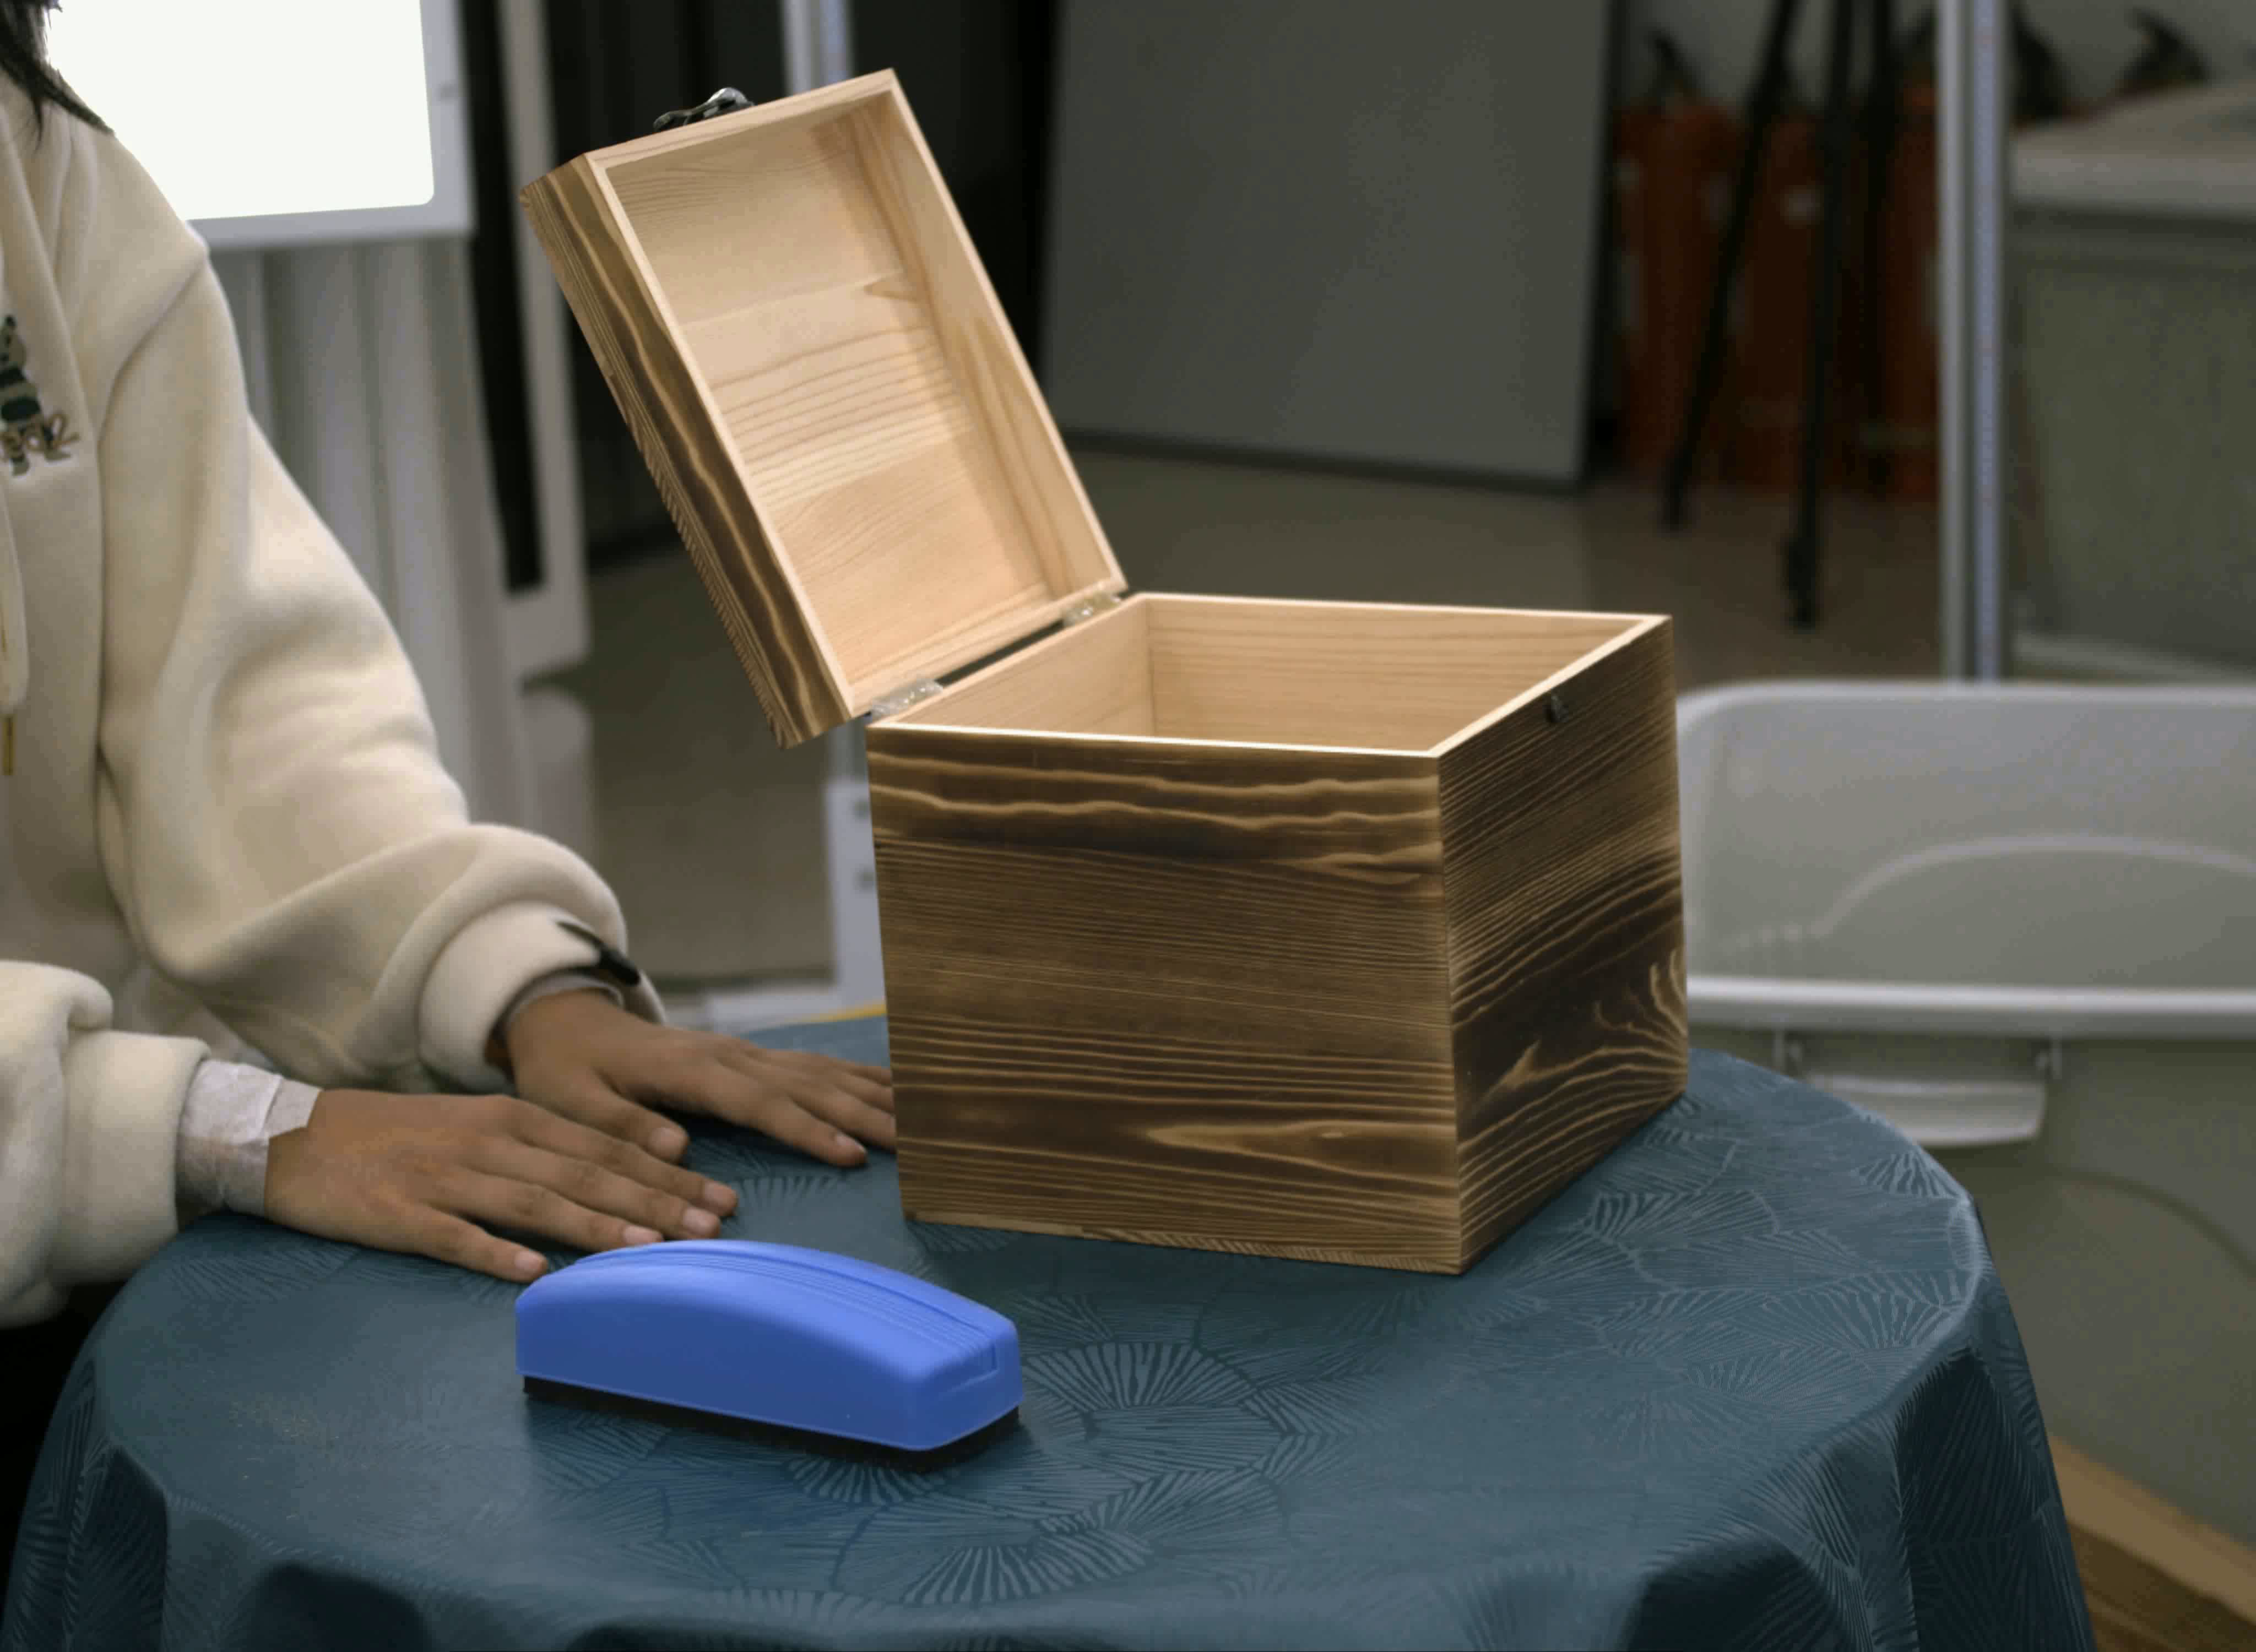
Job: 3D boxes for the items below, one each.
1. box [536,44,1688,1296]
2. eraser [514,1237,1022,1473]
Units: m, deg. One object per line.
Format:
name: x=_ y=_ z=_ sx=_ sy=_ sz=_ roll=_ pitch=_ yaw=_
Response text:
box: x=0.000 y=-0.065 z=1.776 sx=0.323 sy=0.379 sz=0.206 roll=2 pitch=15 yaw=28
eraser: x=-0.107 y=0.150 z=1.584 sx=0.163 sy=0.048 sz=0.053 roll=6 pitch=17 yaw=35
